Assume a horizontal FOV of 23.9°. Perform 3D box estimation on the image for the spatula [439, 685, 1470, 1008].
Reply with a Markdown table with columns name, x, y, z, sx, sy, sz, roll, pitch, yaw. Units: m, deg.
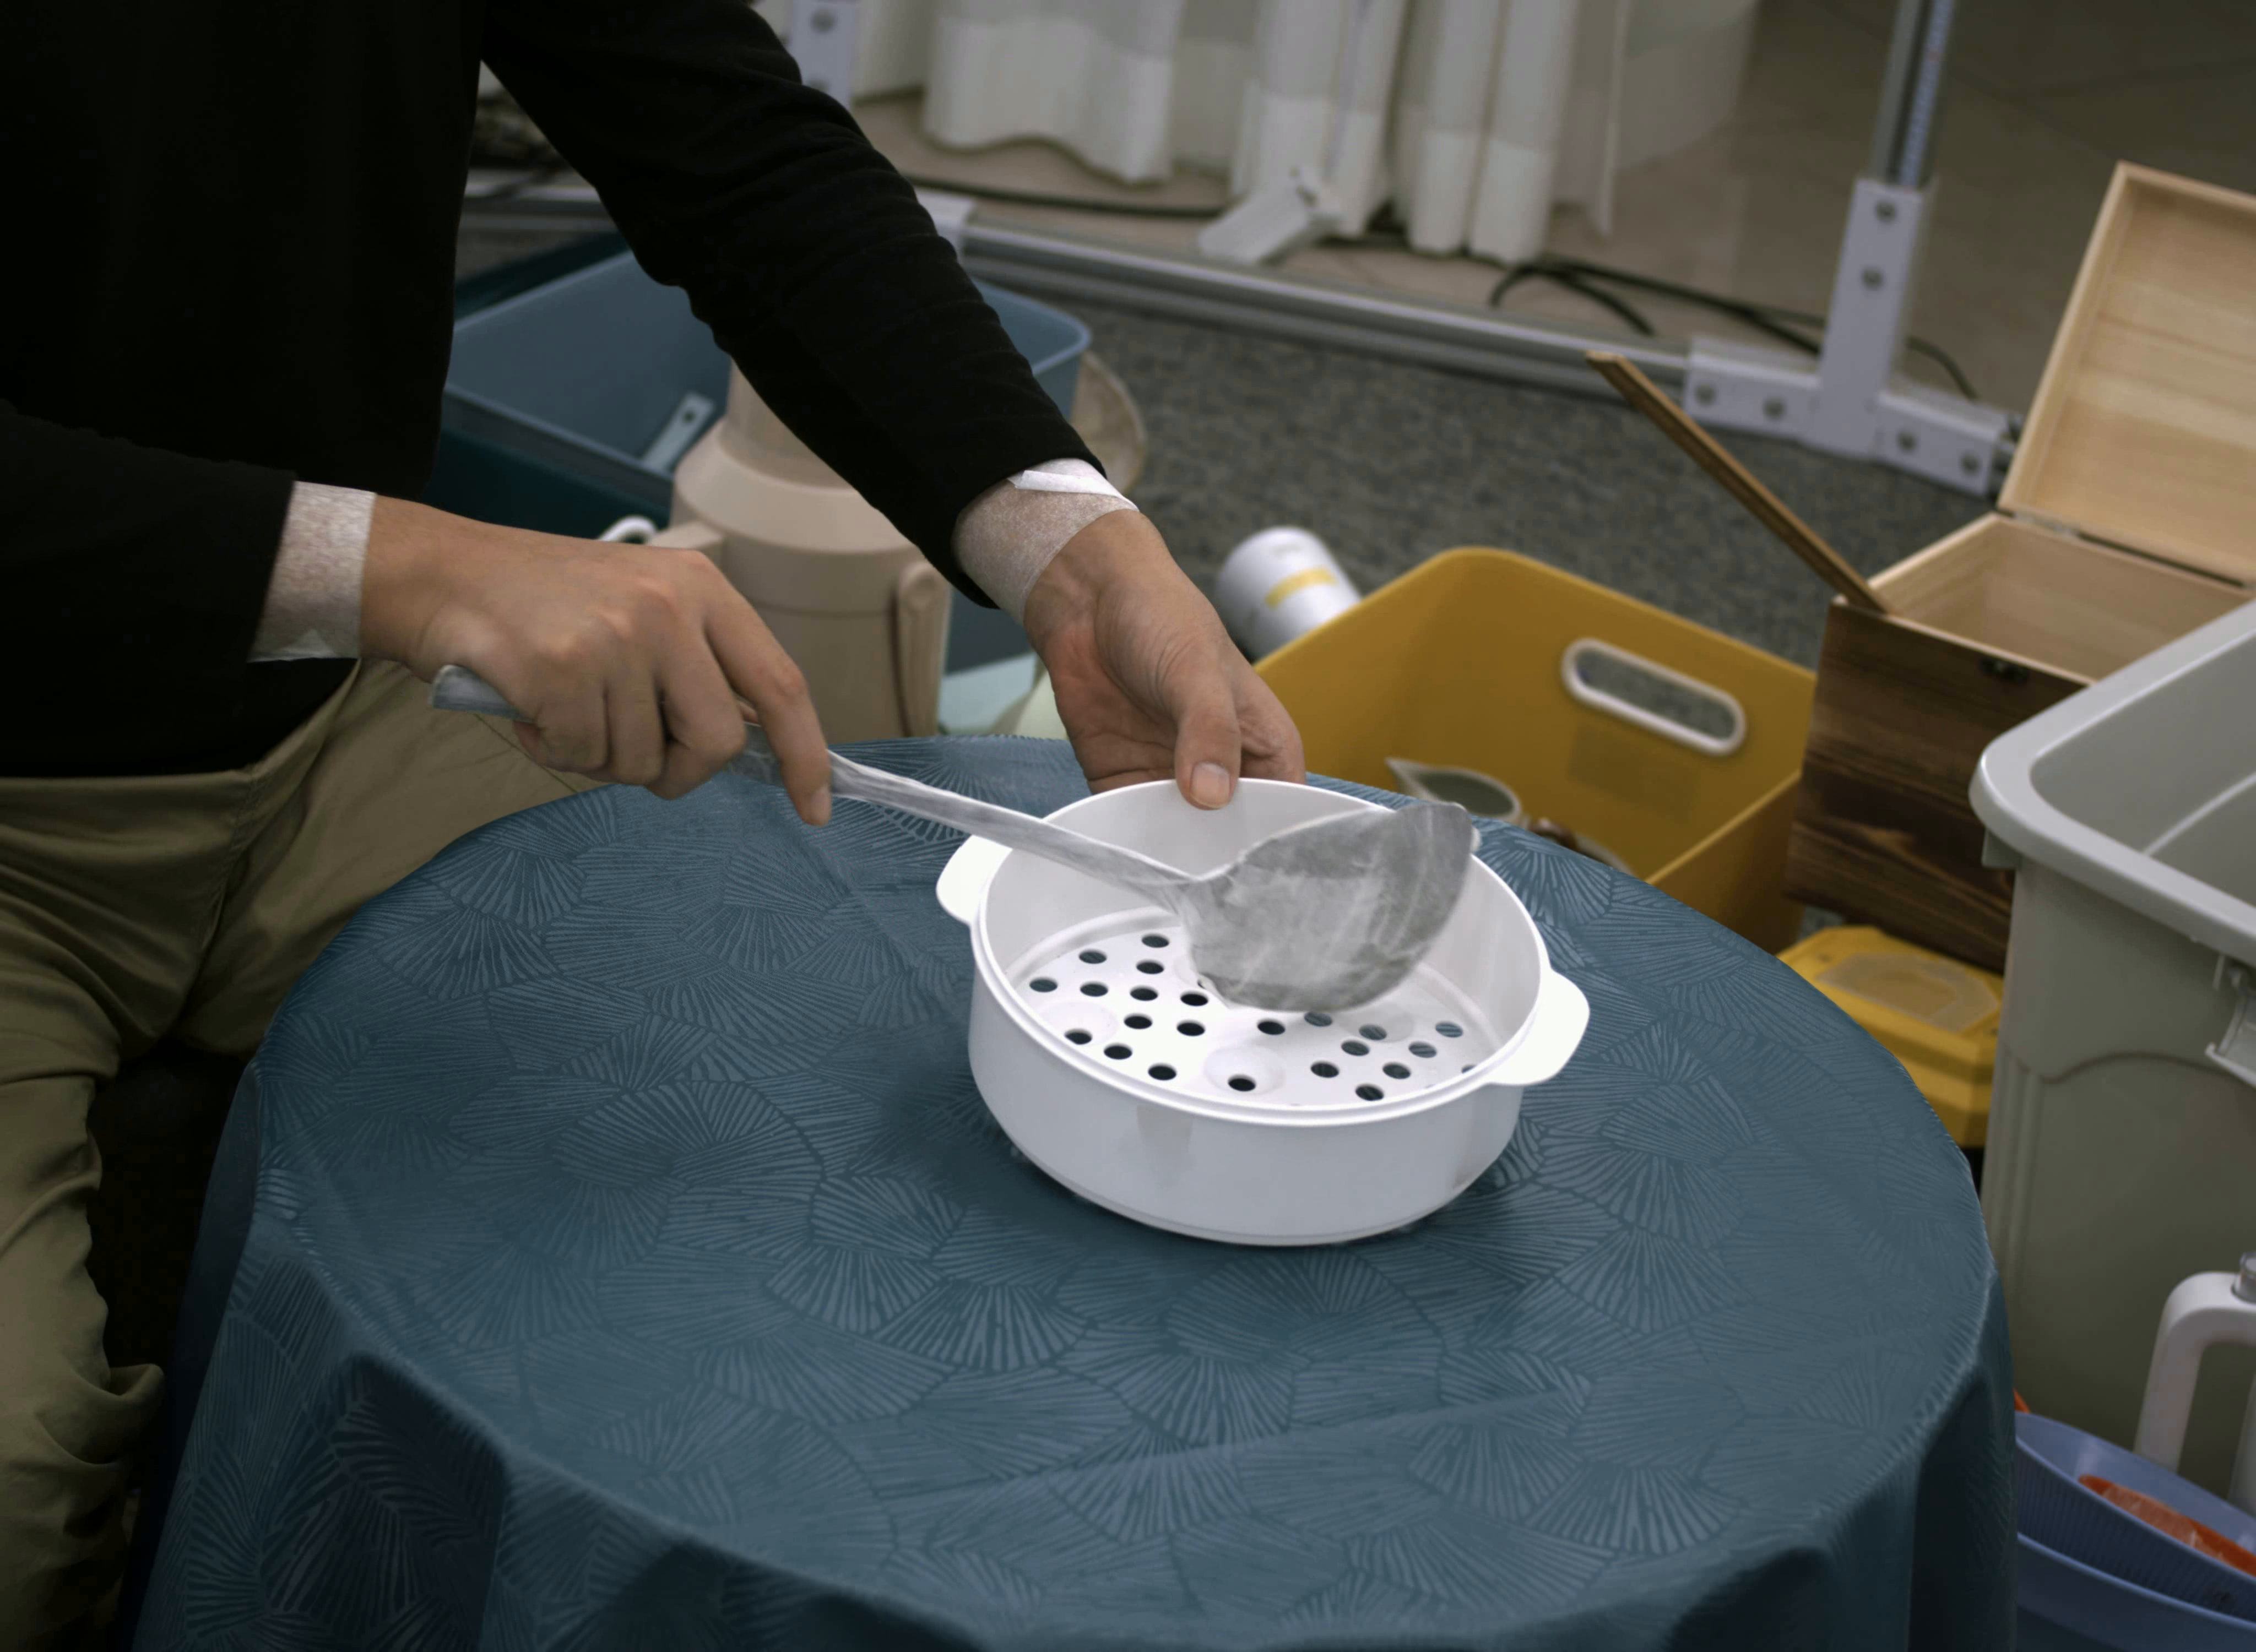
| name | x | y | z | sx | sy | sz | roll | pitch | yaw |
| --- | --- | --- | --- | --- | --- | --- | --- | --- | --- |
| spatula | -0.056 | -0.006 | 1.815 | 0.363 | 0.098 | 0.045 | 16 | 36 | -14 |

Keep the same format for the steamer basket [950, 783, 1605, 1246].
| name | x | y | z | sx | sy | sz | roll | pitch | yaw |
| --- | --- | --- | --- | --- | --- | --- | --- | --- | --- |
| steamer basket | 0.048 | 0.065 | 1.834 | 0.231 | 0.069 | 0.202 | 16 | 34 | 16 |
